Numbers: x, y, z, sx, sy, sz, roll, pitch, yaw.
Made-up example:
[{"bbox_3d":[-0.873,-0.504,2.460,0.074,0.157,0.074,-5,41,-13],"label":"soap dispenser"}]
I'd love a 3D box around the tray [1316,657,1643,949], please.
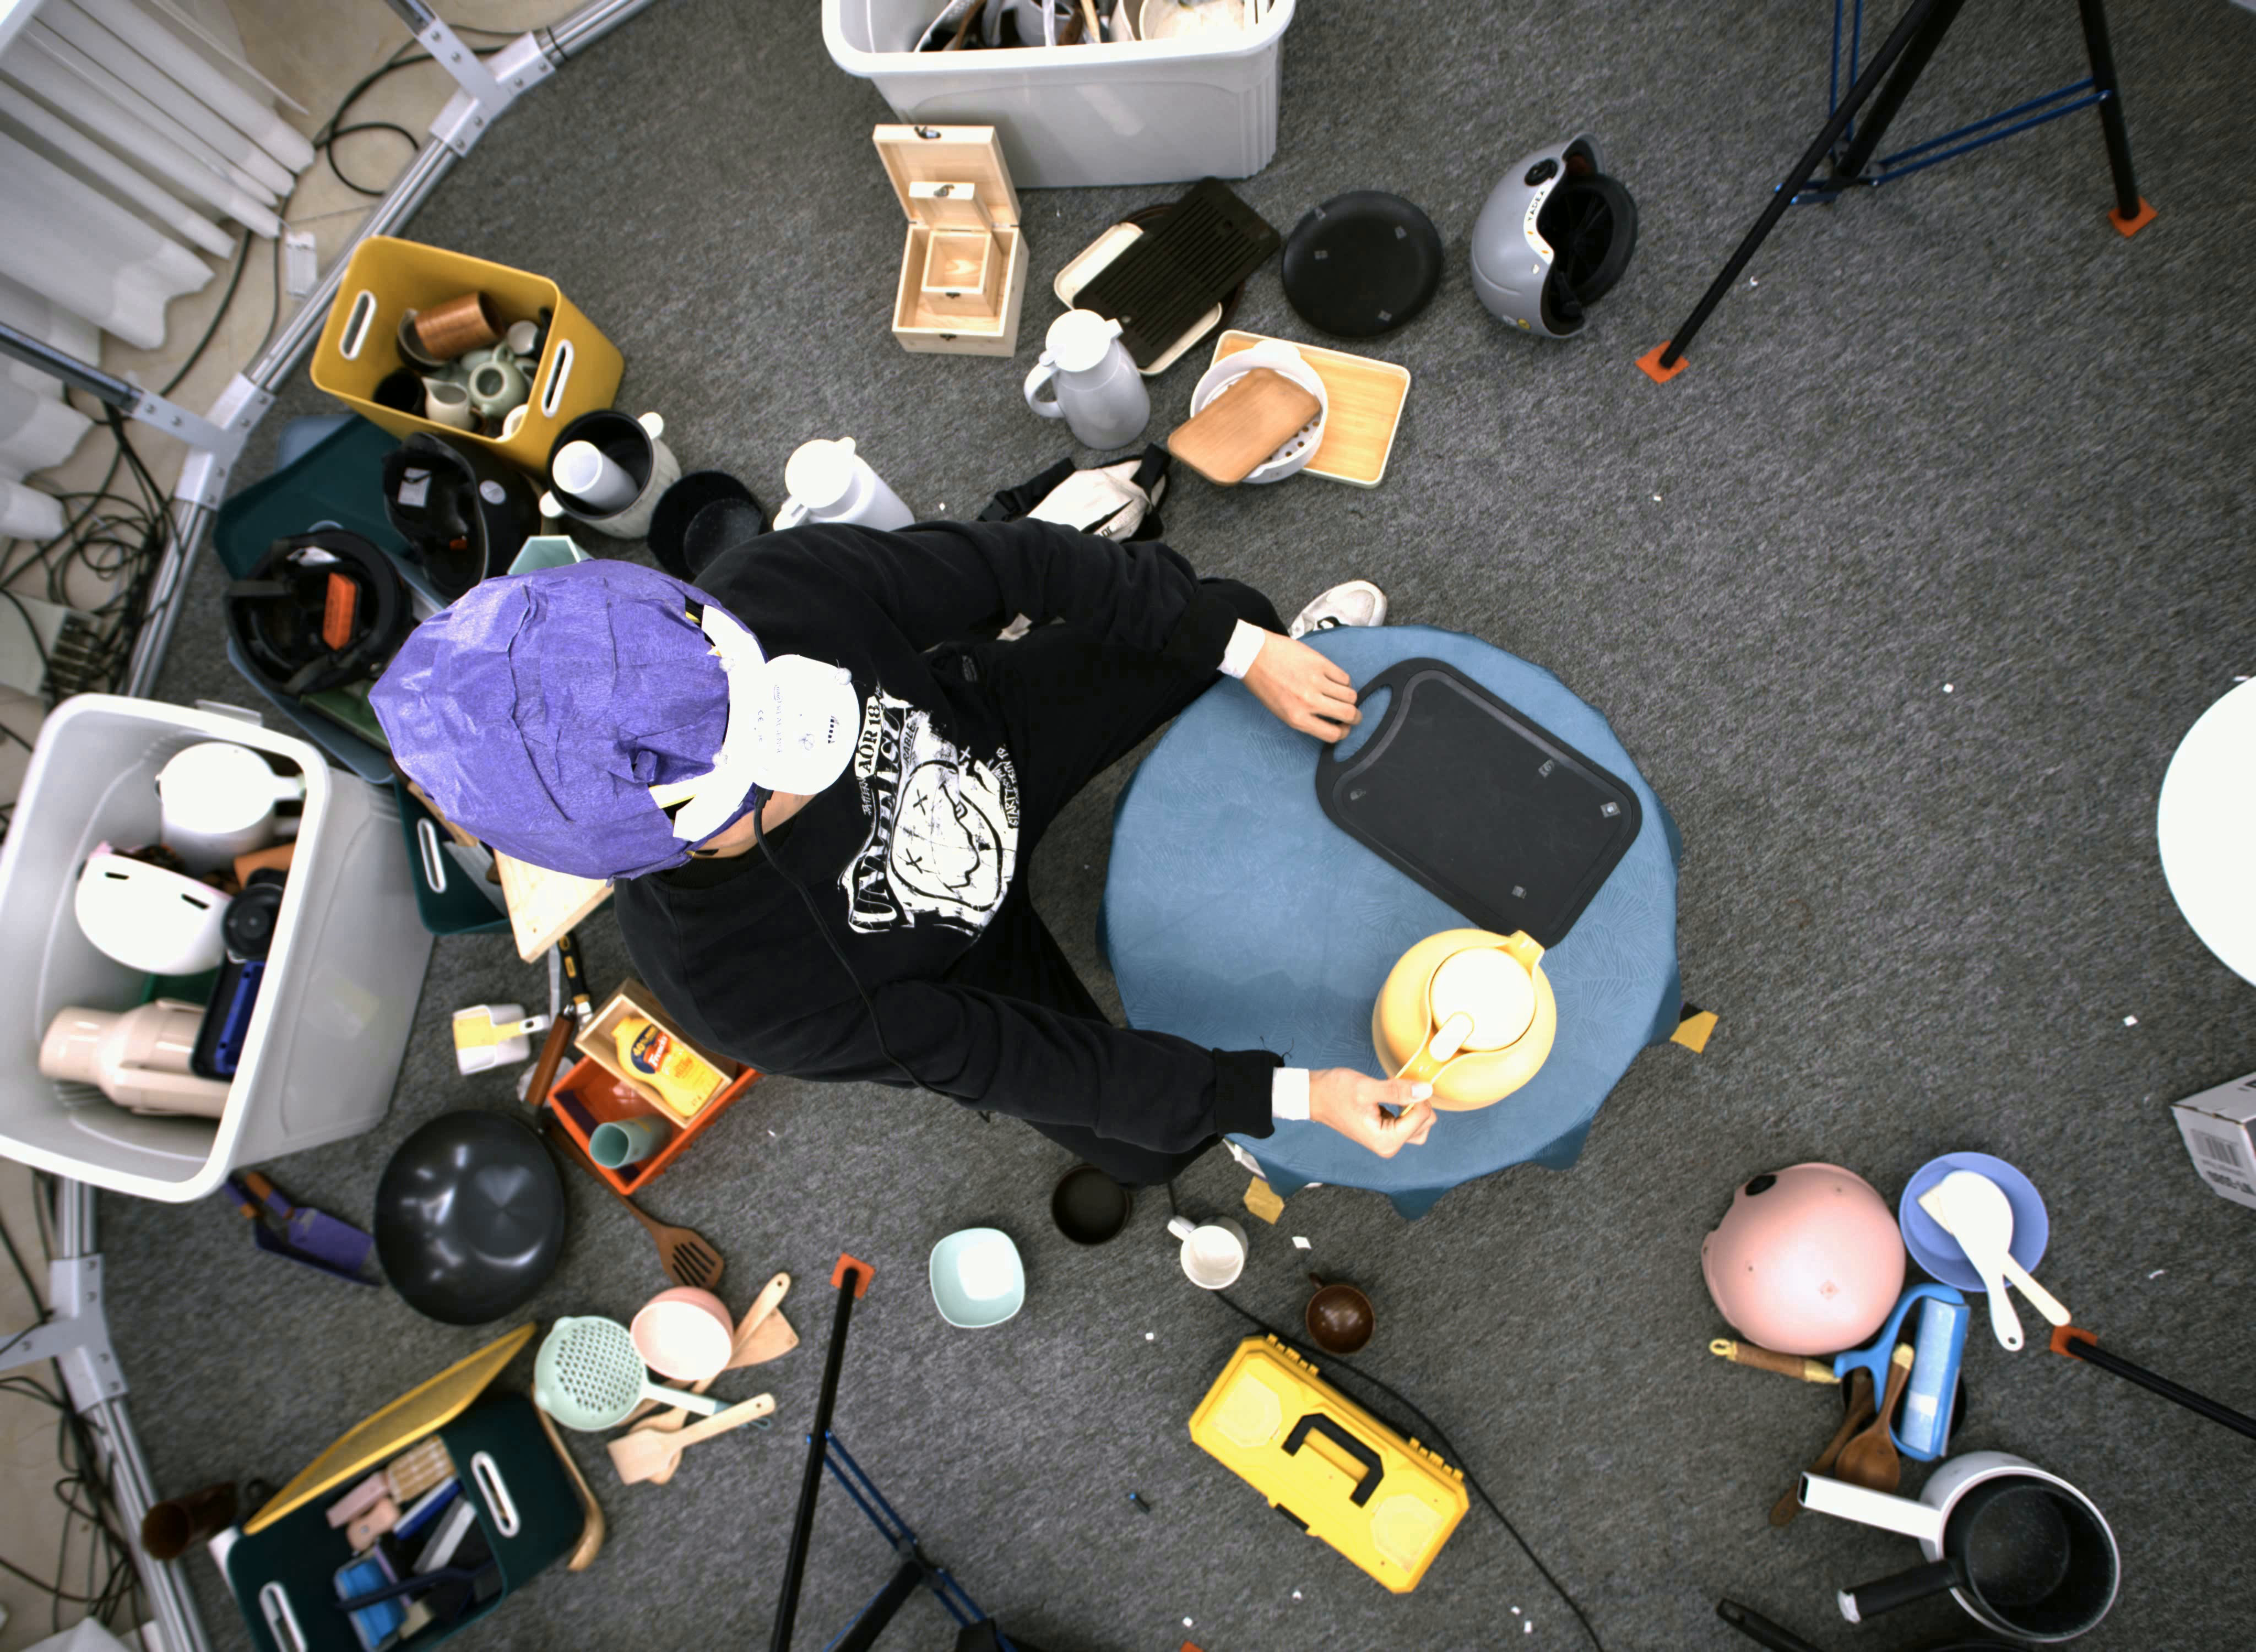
[{"bbox_3d":[0.360,-0.032,1.443,0.324,0.010,0.211,37,94,9],"label":"tray"}]

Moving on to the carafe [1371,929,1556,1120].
[{"bbox_3d":[0.302,0.190,1.292,0.162,0.263,0.201,43,83,16],"label":"carafe"}]
